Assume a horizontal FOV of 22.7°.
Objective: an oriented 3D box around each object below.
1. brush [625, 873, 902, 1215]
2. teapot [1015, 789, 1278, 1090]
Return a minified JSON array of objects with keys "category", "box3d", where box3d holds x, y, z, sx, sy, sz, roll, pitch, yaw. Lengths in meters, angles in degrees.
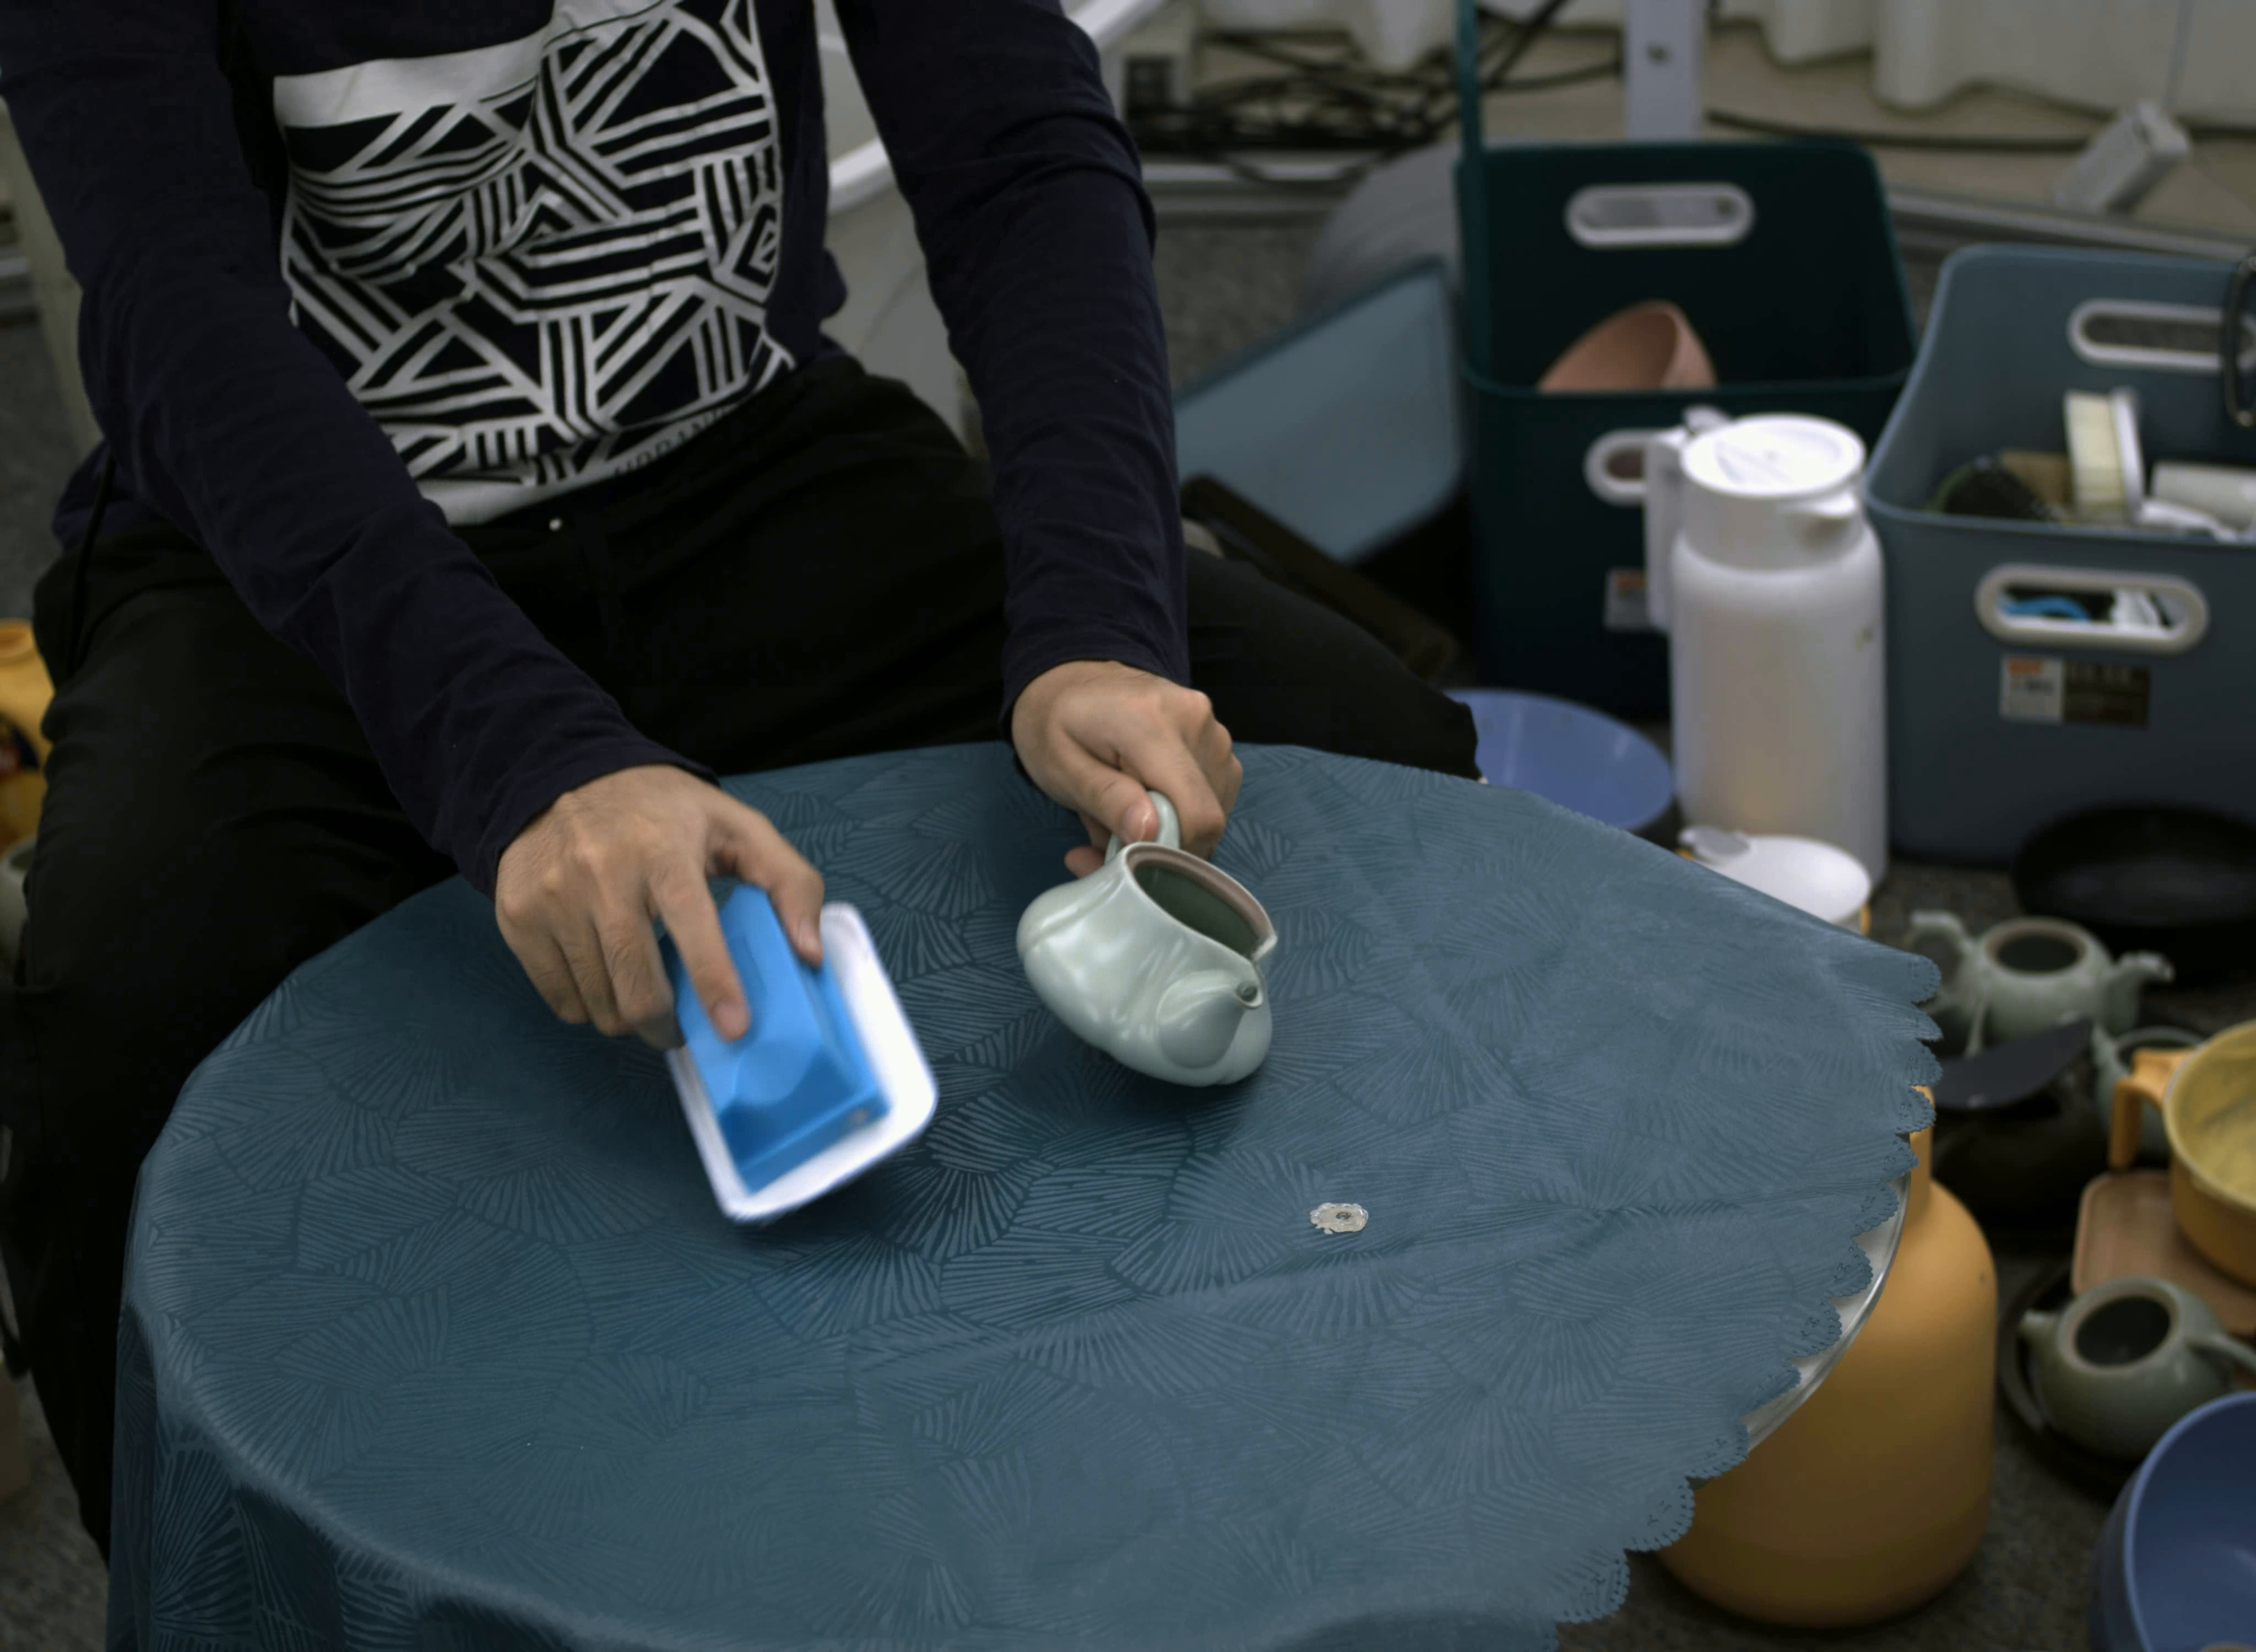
[{"category":"brush","box3d":[-0.127,0.067,1.878,0.083,0.055,0.146,-23,36,0]},{"category":"teapot","box3d":[0.010,0.043,1.921,0.096,0.060,0.139,15,28,-26]}]
